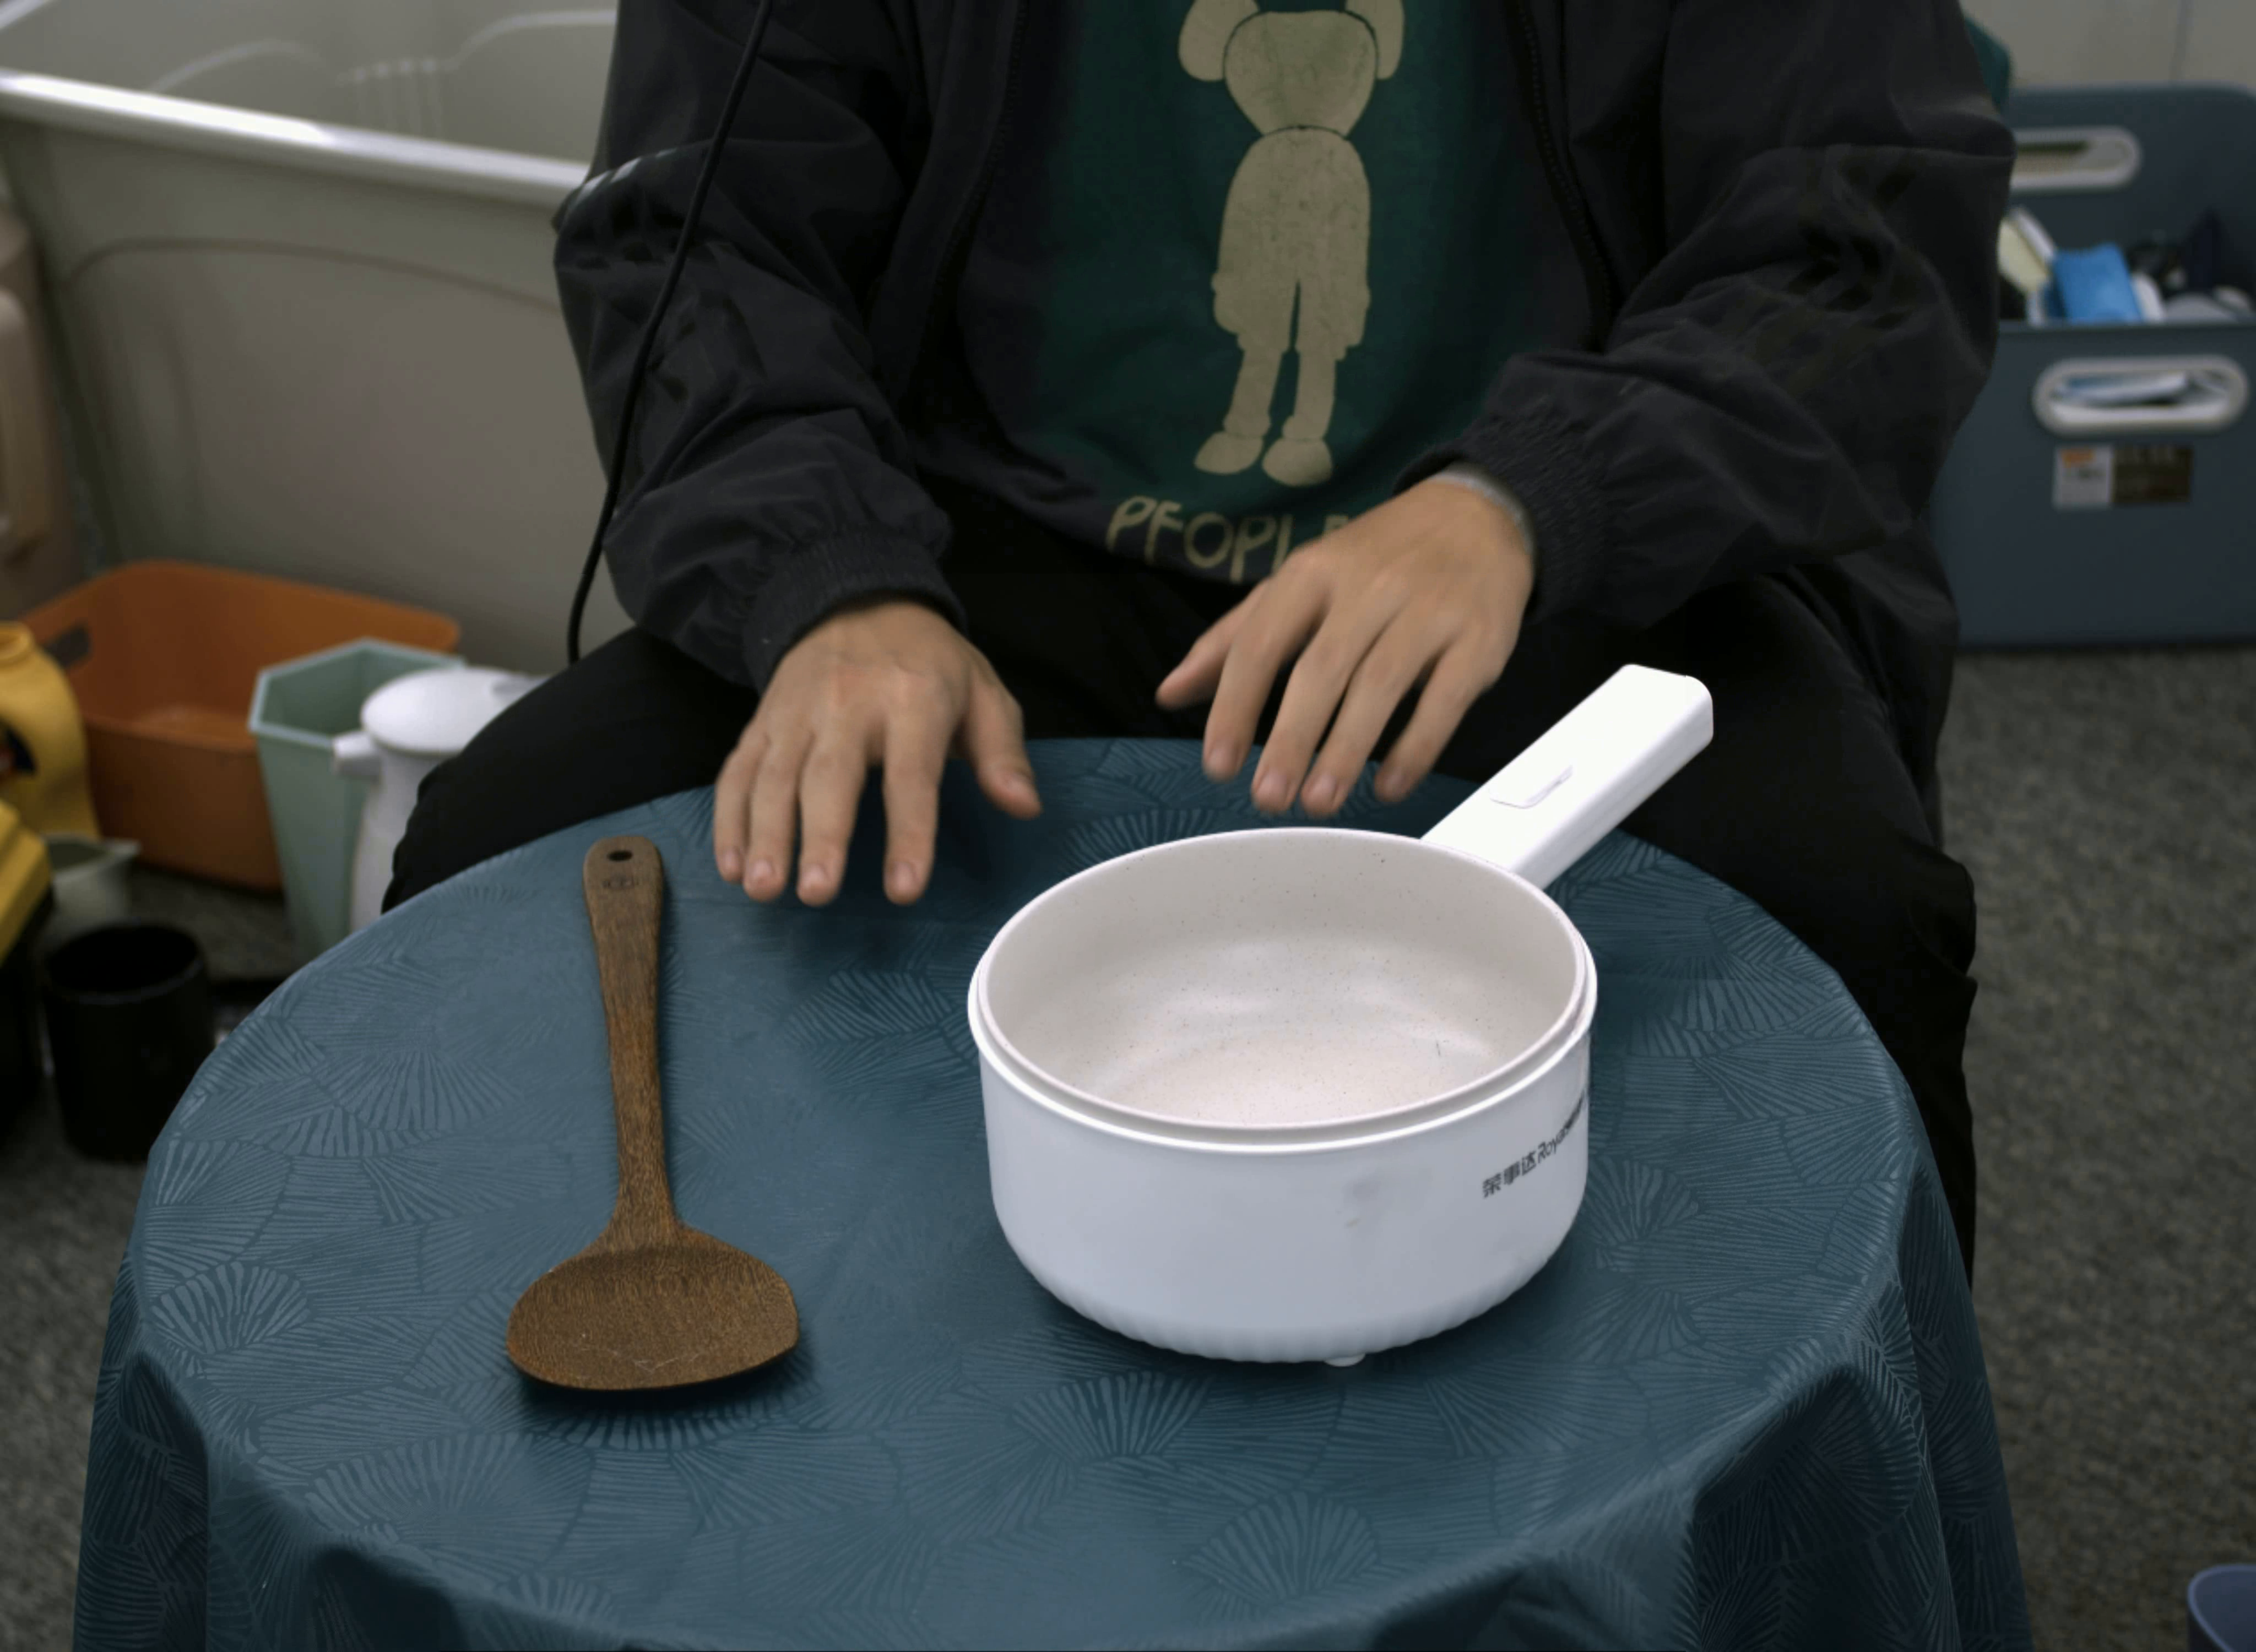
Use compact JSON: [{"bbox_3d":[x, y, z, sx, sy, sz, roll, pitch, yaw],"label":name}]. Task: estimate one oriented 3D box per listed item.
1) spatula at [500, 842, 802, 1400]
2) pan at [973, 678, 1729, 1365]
[{"bbox_3d":[-0.168,0.092,1.917,0.096,0.015,0.391,-5,27,-5],"label":"spatula"},{"bbox_3d":[0.095,0.060,1.864,0.200,0.101,0.360,14,30,31],"label":"pan"}]
